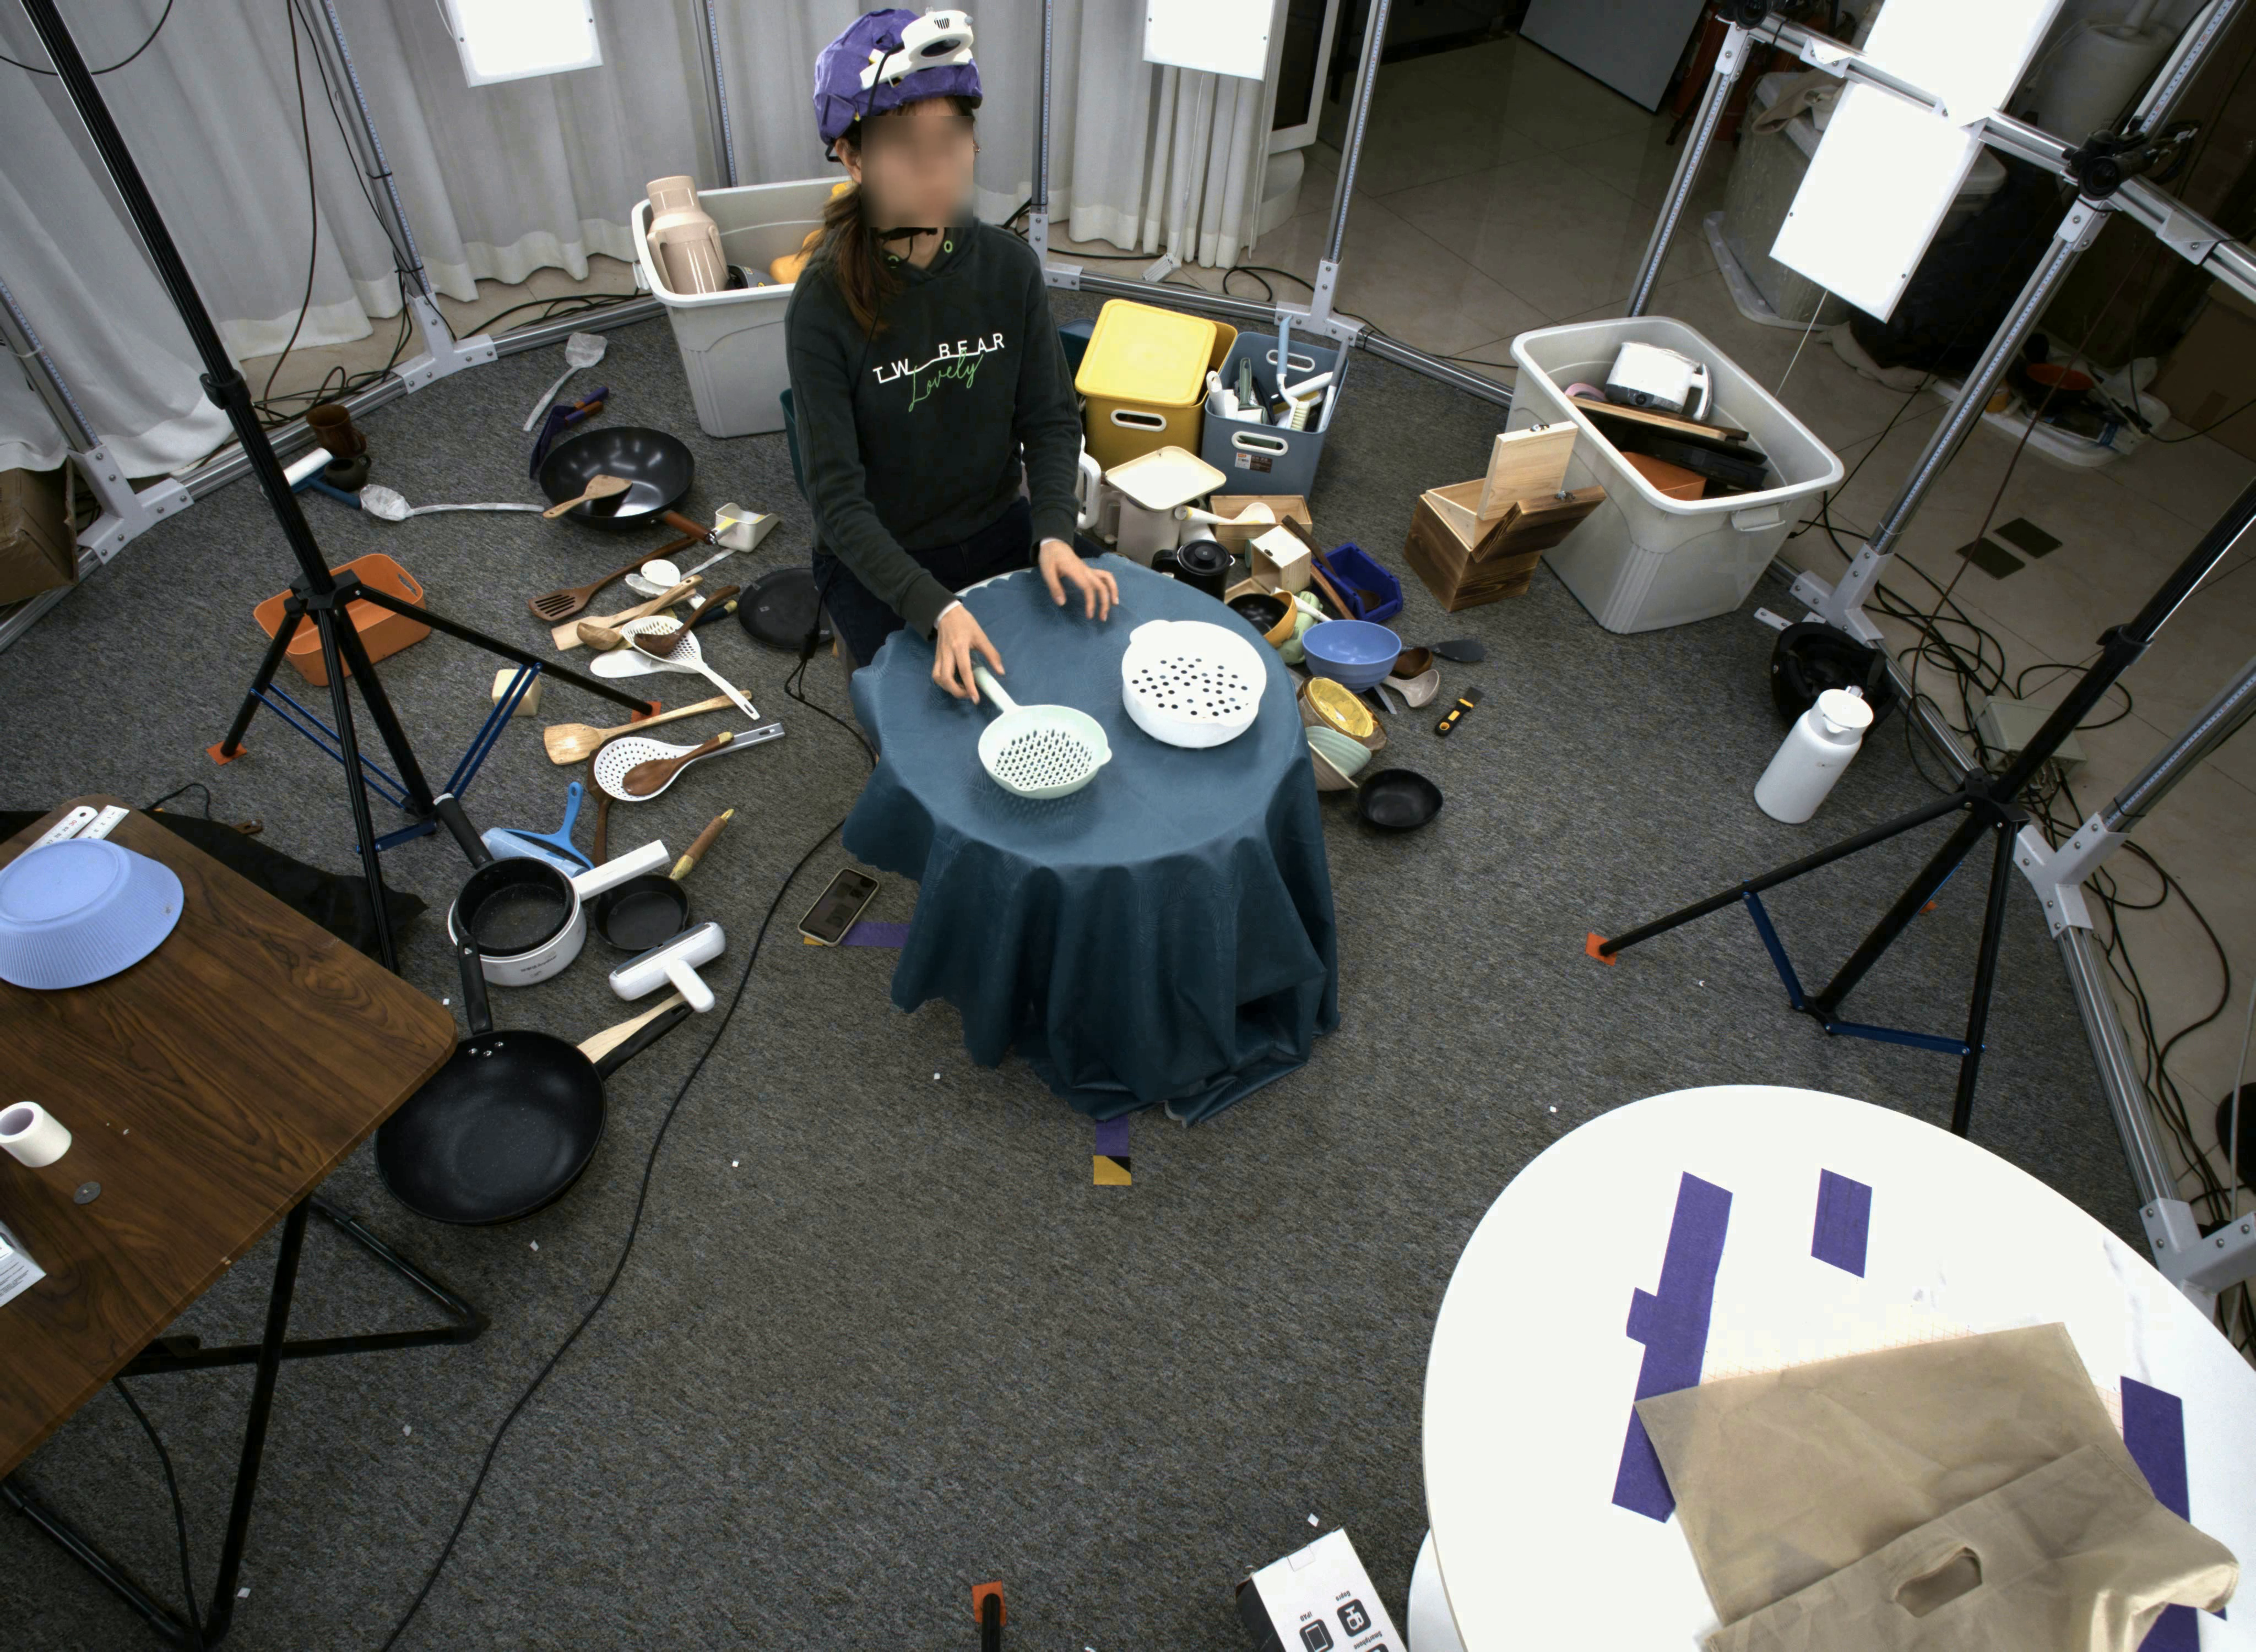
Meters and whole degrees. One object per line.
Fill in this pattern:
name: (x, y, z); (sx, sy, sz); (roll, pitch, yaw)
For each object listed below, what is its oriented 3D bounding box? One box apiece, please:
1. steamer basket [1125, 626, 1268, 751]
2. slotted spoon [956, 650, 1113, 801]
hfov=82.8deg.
steamer basket: (0.094, -0.193, 1.817); (0.203, 0.067, 0.235); (-29, 57, -27)
slotted spoon: (-0.159, -0.154, 1.766); (0.170, 0.073, 0.366); (-21, 53, -21)
